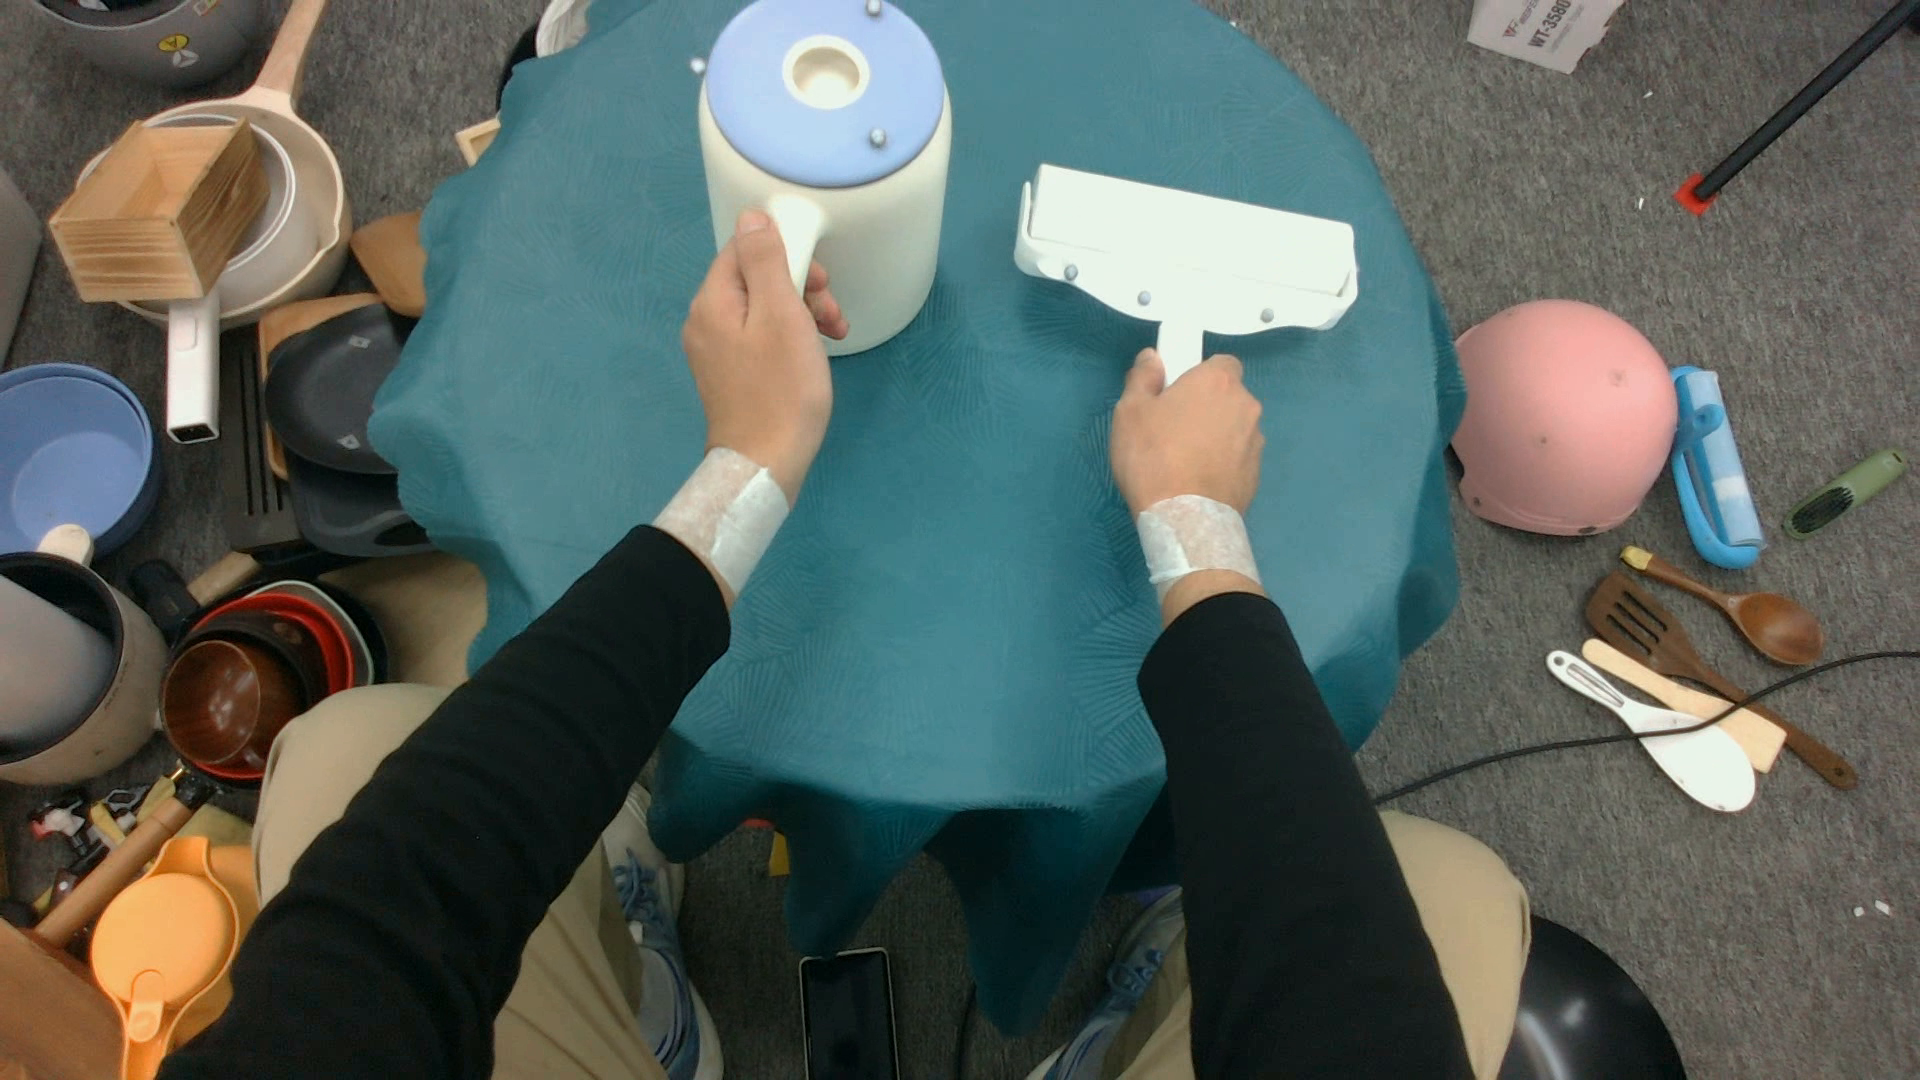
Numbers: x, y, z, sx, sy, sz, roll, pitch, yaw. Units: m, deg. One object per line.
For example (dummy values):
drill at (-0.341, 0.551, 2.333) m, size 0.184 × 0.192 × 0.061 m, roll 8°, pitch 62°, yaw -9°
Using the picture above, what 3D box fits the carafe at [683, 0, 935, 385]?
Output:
carafe at (-0.087, -0.182, 0.756) m, size 0.132 × 0.182 × 0.191 m, roll 10°, pitch 71°, yaw -1°

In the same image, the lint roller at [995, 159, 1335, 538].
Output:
lint roller at (0.117, -0.108, 0.786) m, size 0.203 × 0.048 × 0.226 m, roll 9°, pitch 63°, yaw -8°
